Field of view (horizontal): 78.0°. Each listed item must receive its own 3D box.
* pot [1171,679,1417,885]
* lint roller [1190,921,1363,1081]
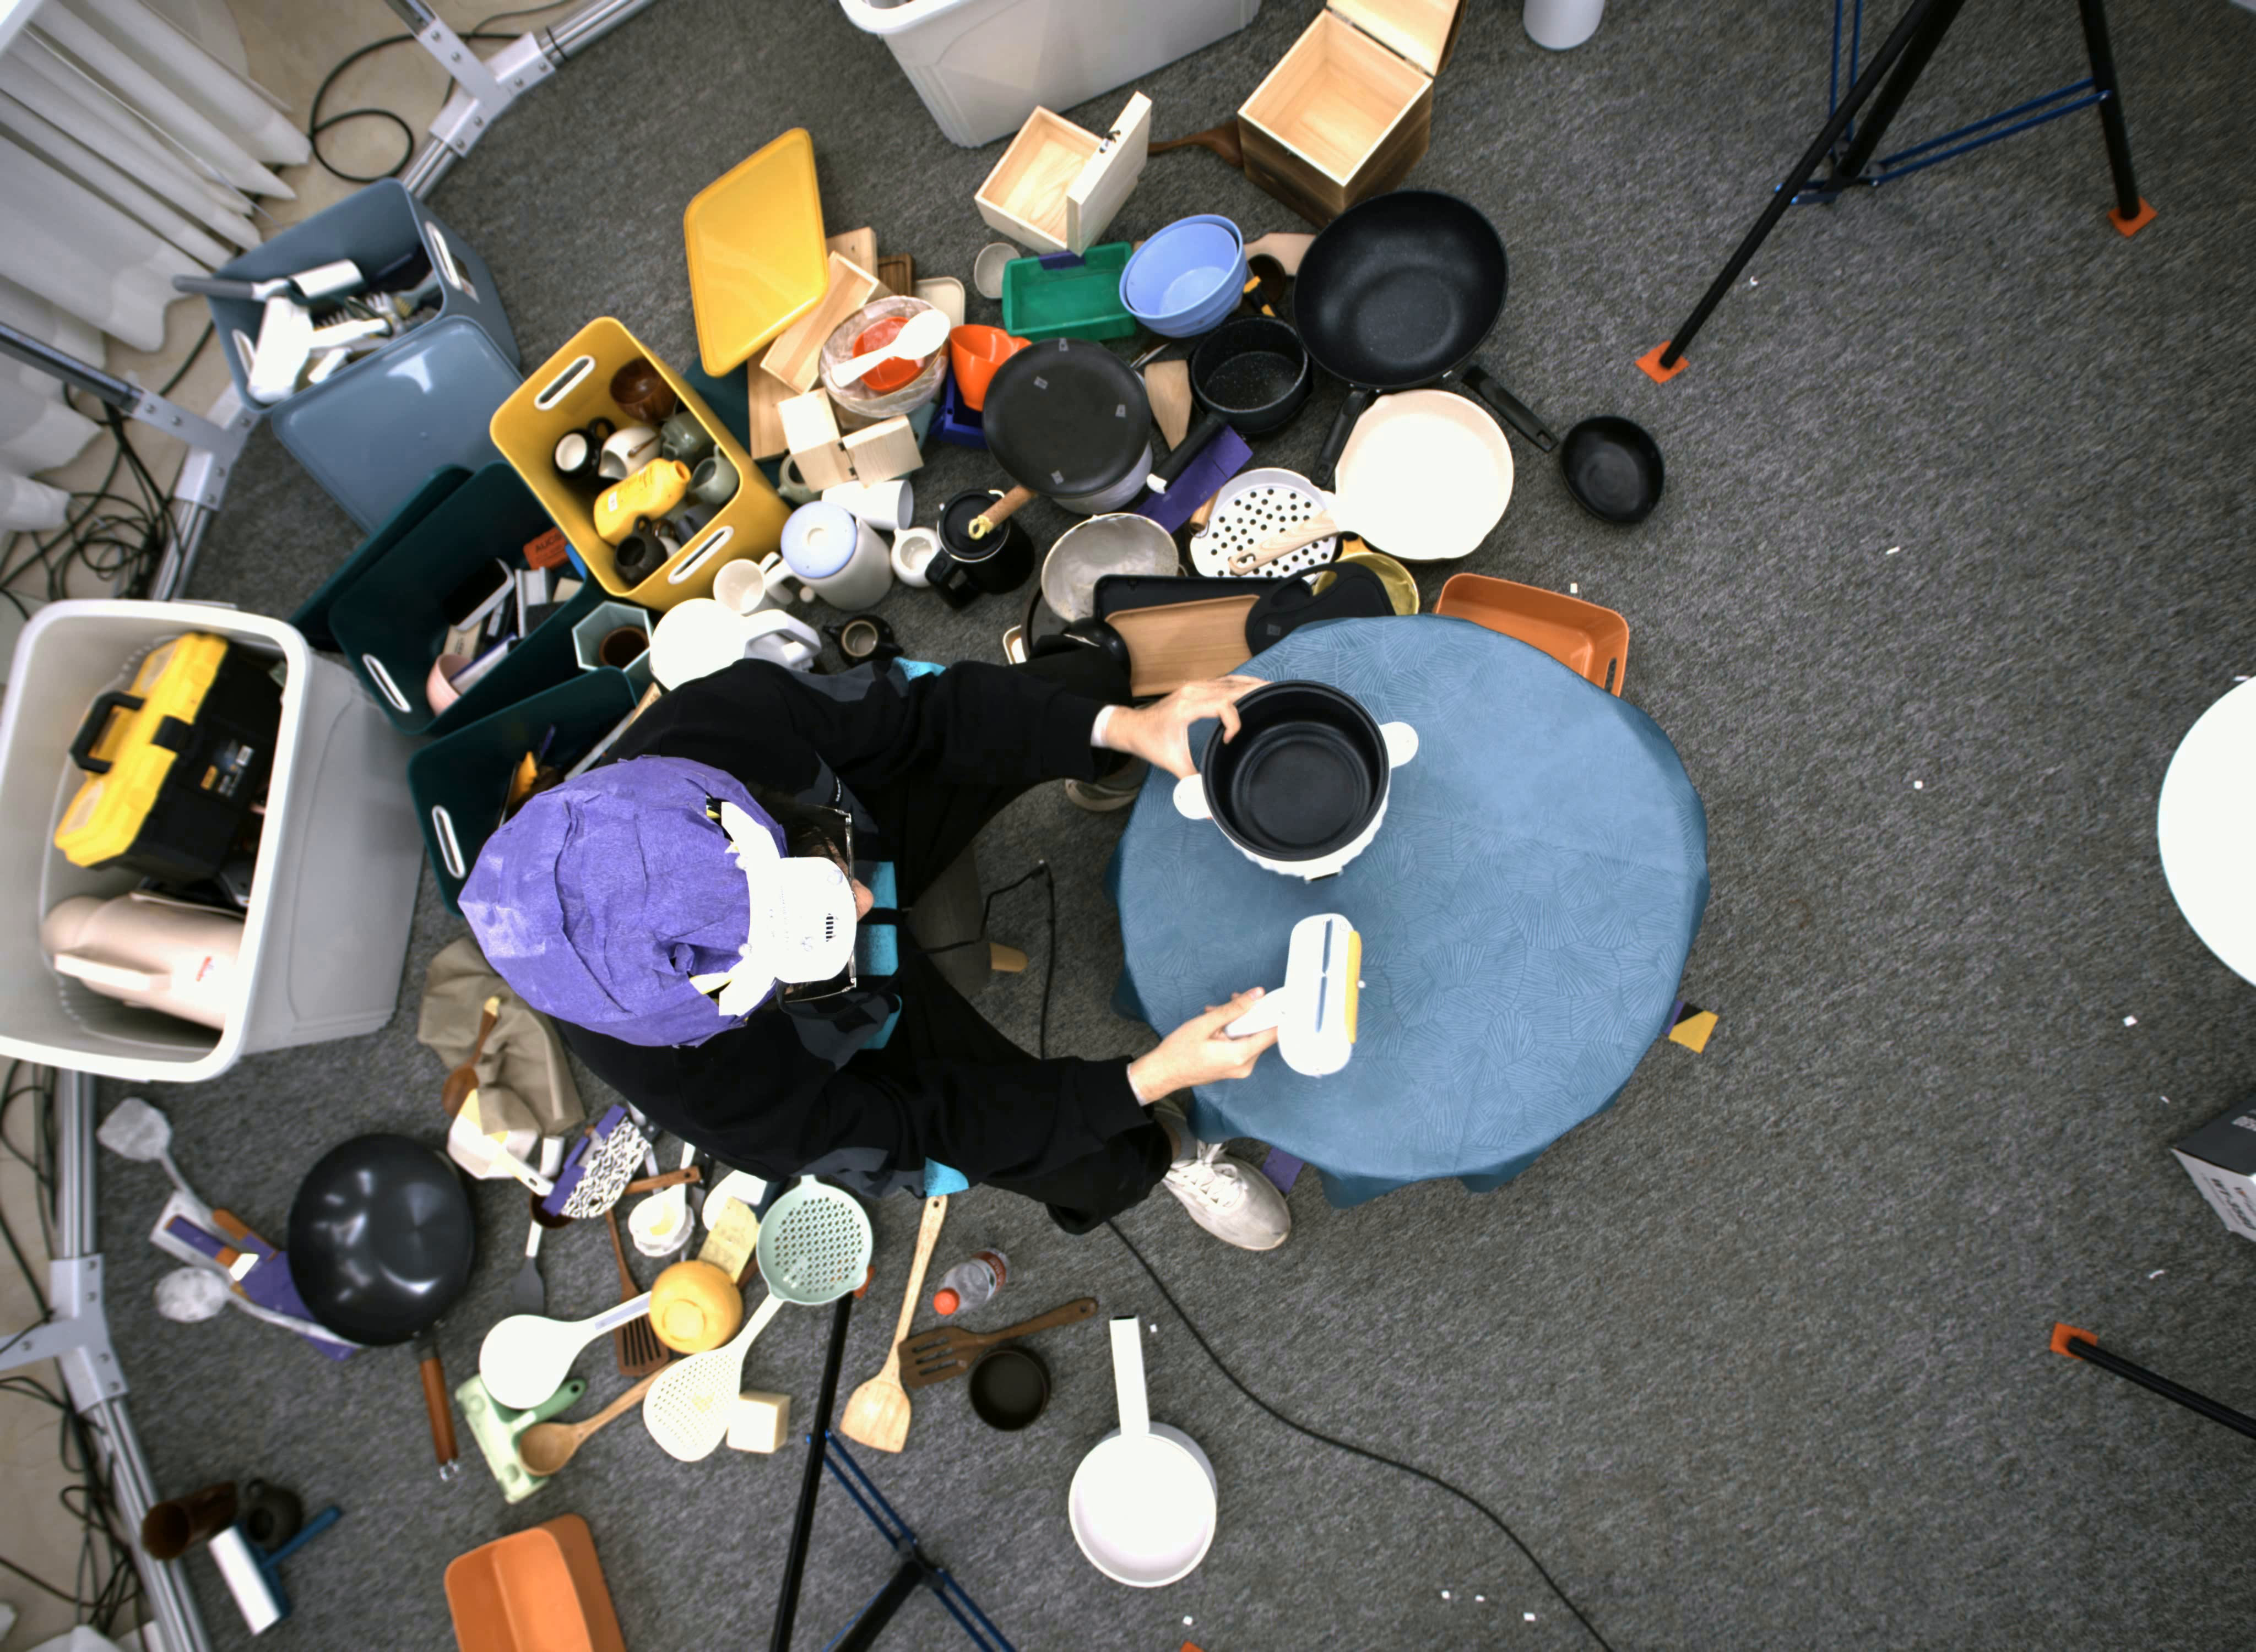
[{"bbox_3d":[0.167,-0.046,1.381,0.241,0.143,0.188,-13,78,8],"label":"pot"},{"bbox_3d":[0.138,0.185,1.380,0.195,0.187,0.075,-17,124,30],"label":"lint roller"}]
